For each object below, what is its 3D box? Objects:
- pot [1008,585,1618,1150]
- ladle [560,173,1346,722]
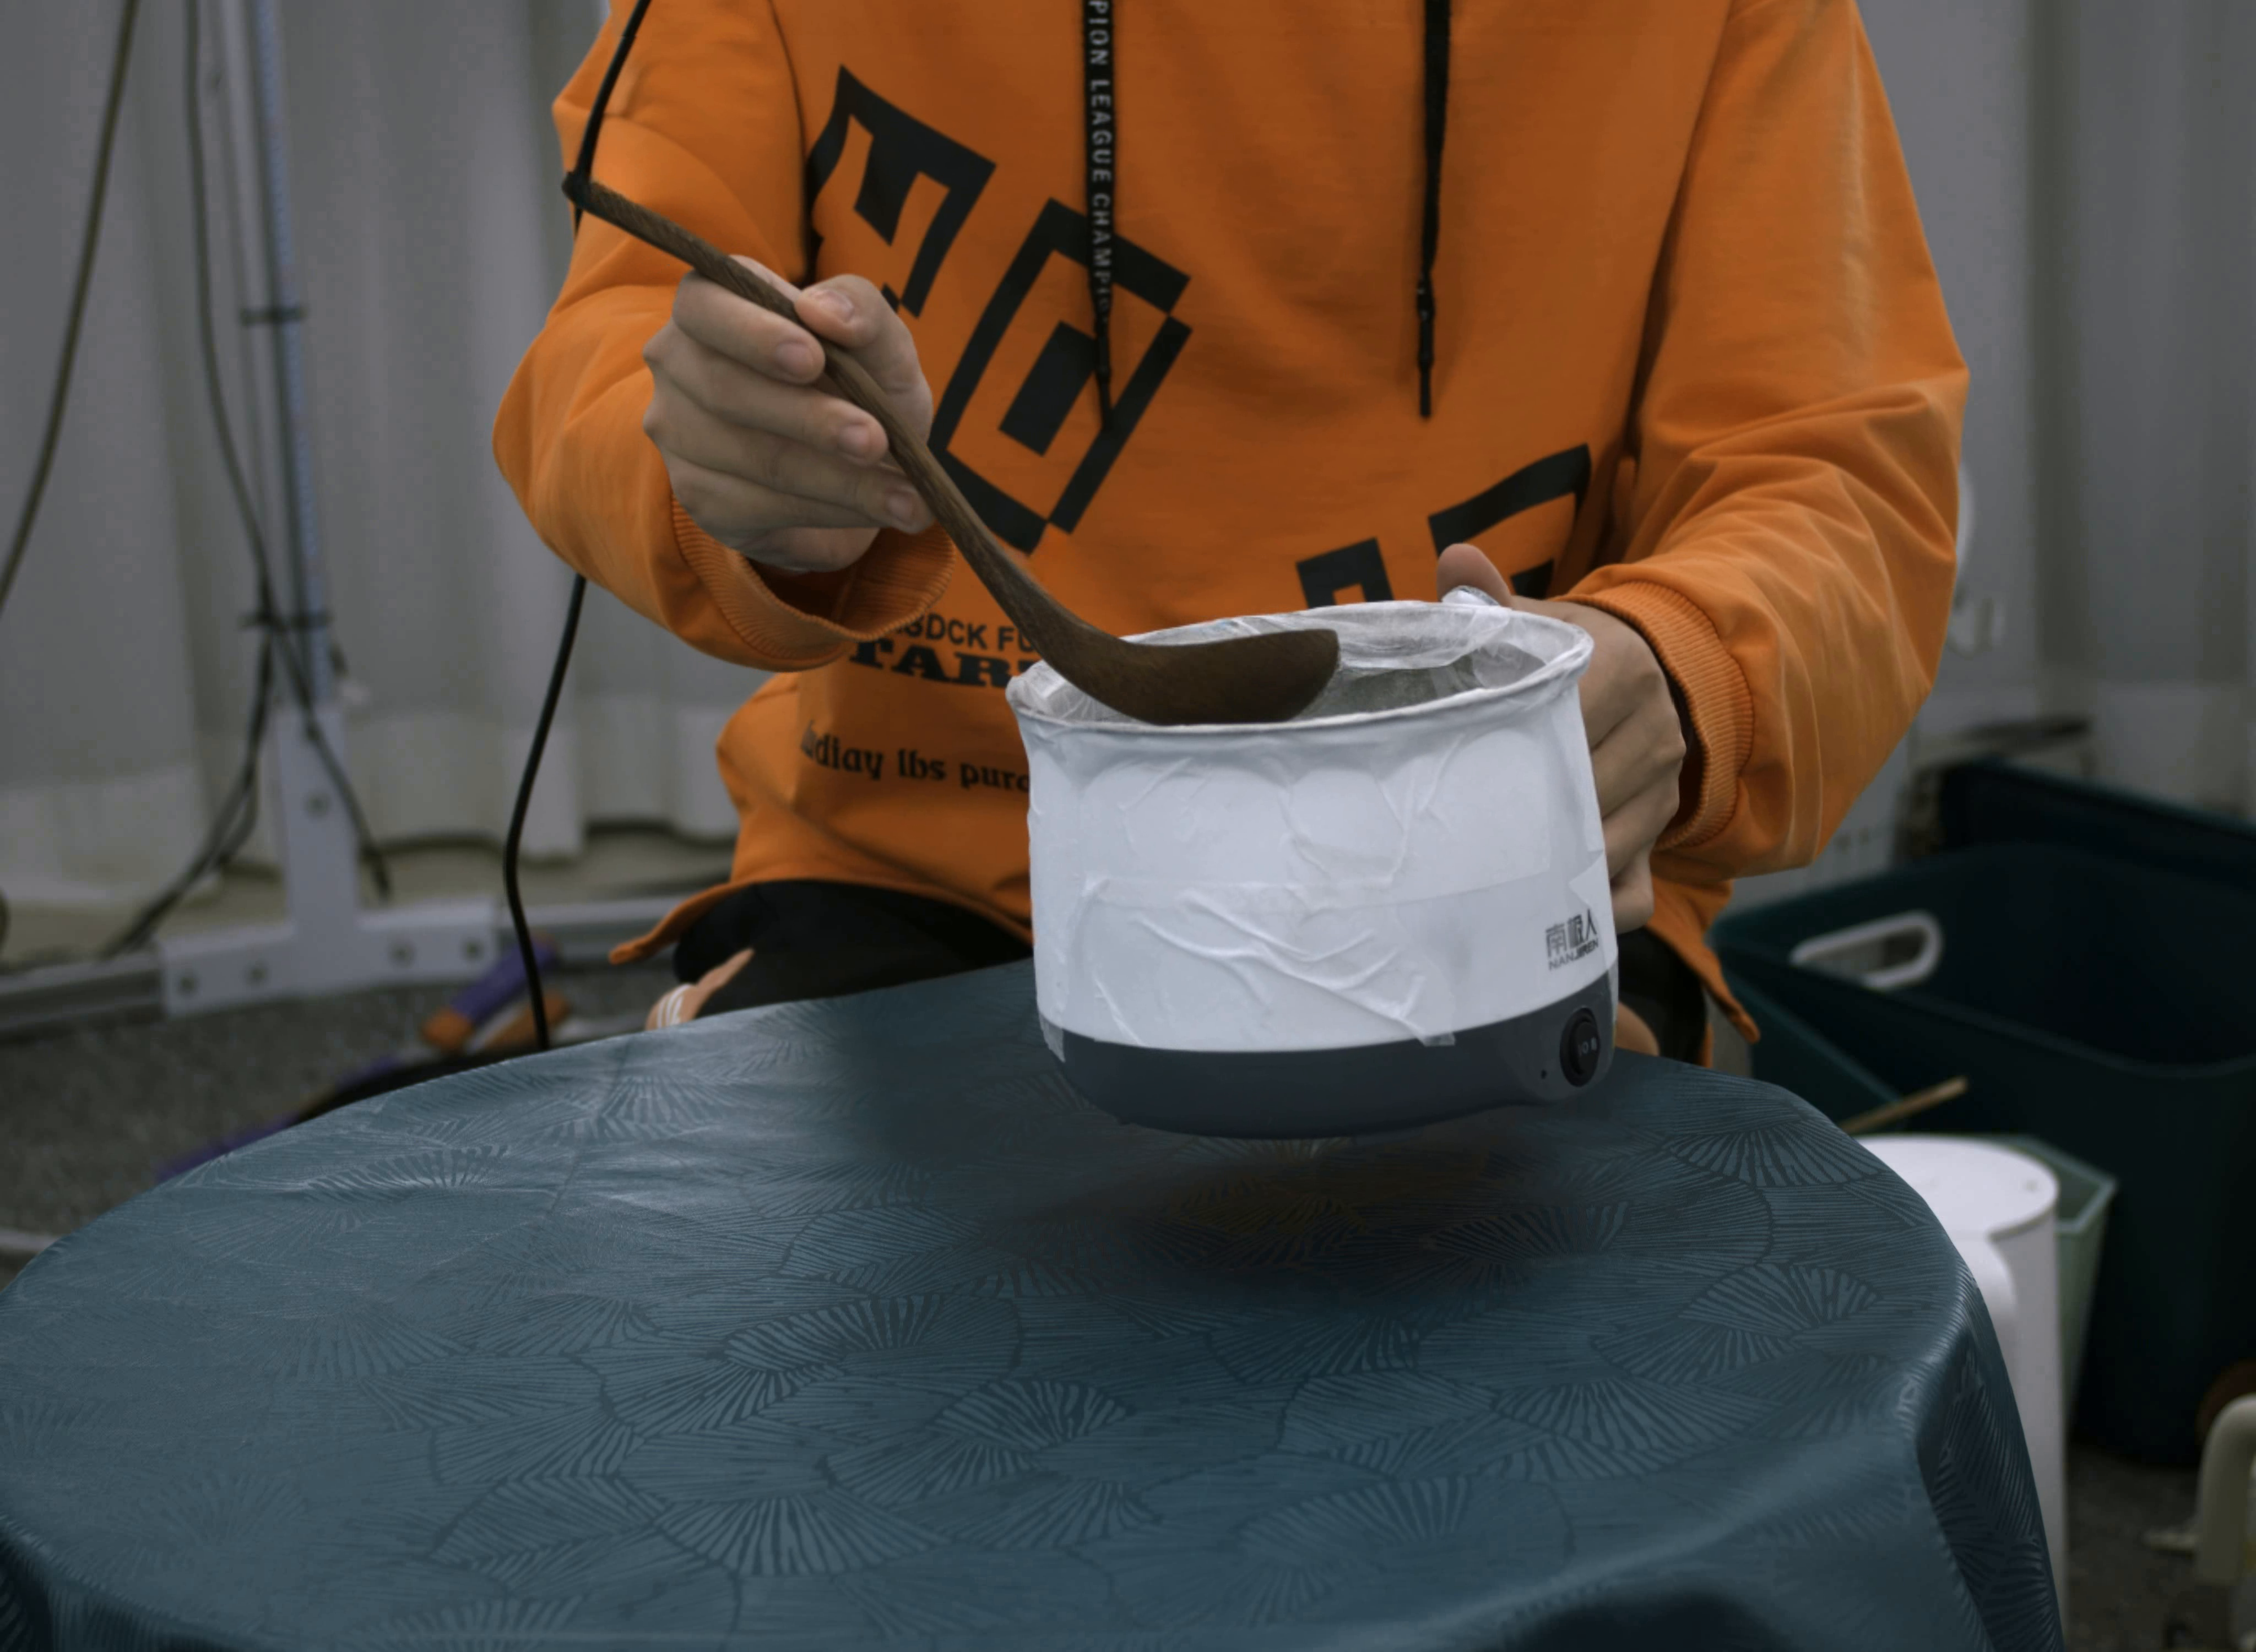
[{"bbox_3d":[0.072,0.007,1.672,0.179,0.136,0.234,3,14,32],"label":"pot"},{"bbox_3d":[-0.051,-0.123,1.624,0.275,0.071,0.075,45,2,11],"label":"ladle"}]
